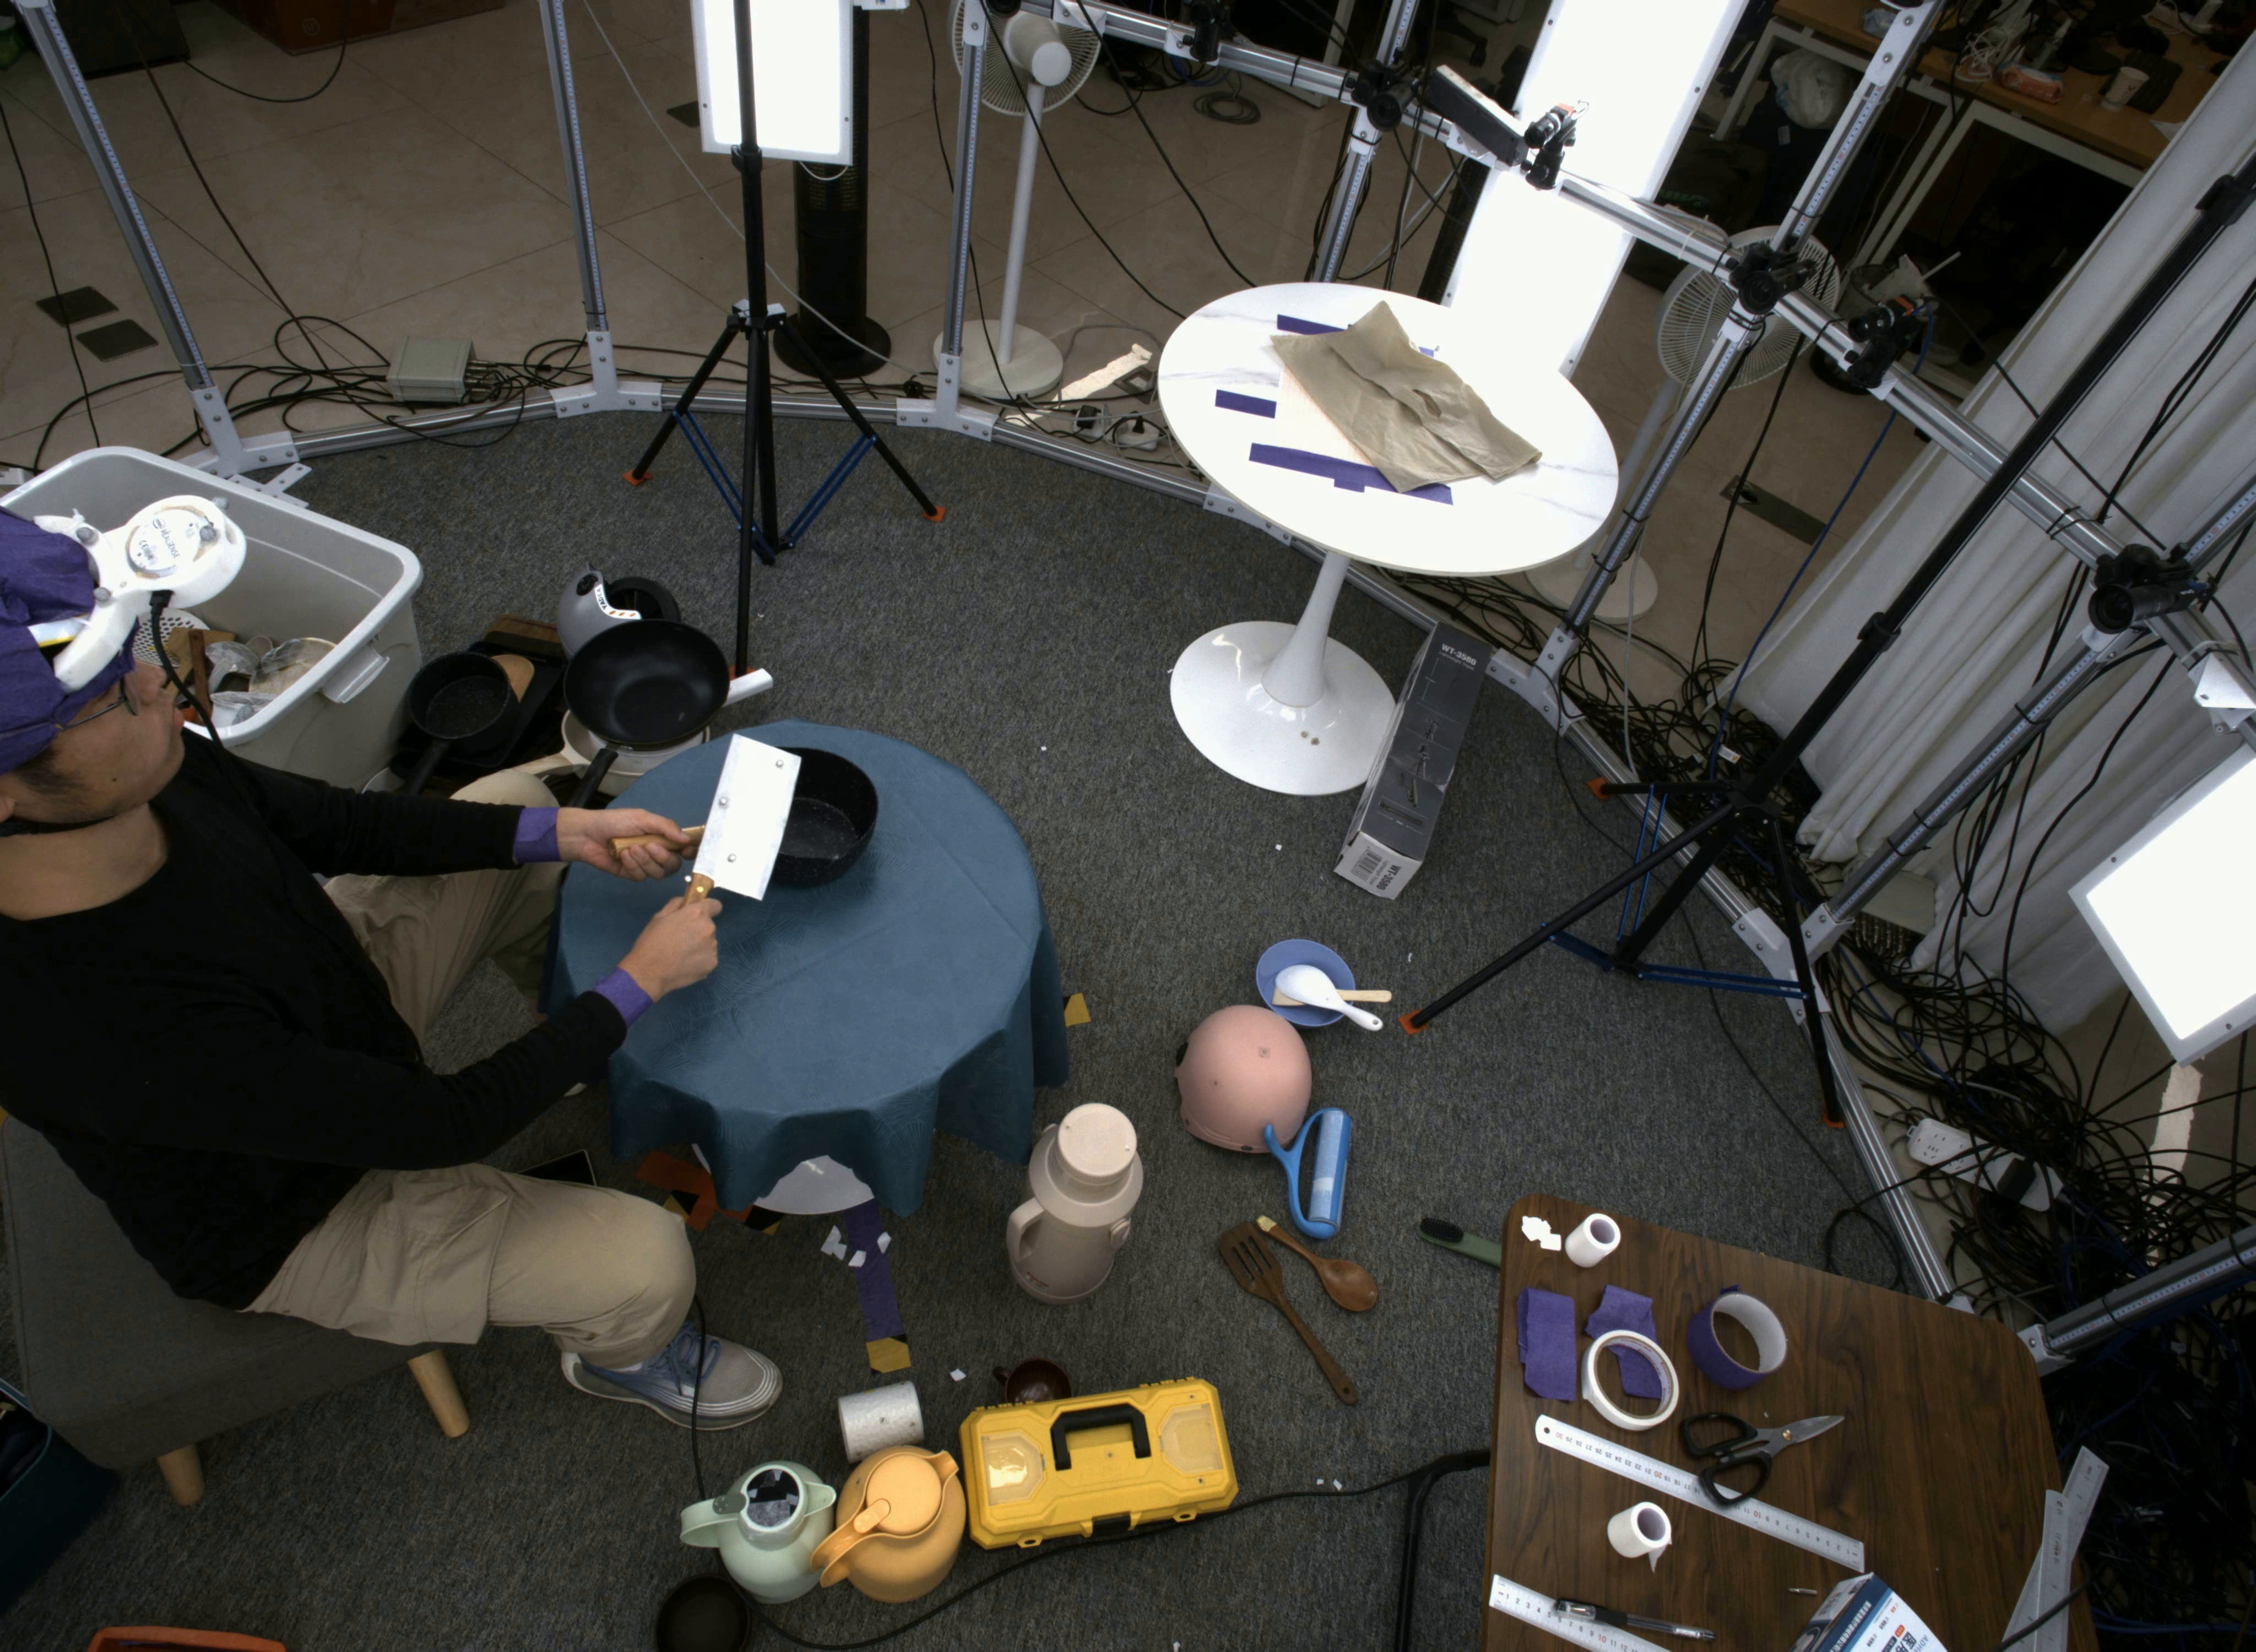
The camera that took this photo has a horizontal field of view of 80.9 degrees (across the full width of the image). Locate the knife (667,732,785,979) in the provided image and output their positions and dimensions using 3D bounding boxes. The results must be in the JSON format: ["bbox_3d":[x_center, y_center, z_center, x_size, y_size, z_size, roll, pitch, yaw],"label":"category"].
[{"bbox_3d":[-0.474,0.037,1.542,0.095,0.020,0.305,20,70,-30],"label":"knife"}]

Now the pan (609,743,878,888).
[{"bbox_3d":[-0.479,0.008,1.615,0.345,0.110,0.202,-20,60,-34],"label":"pan"}]
